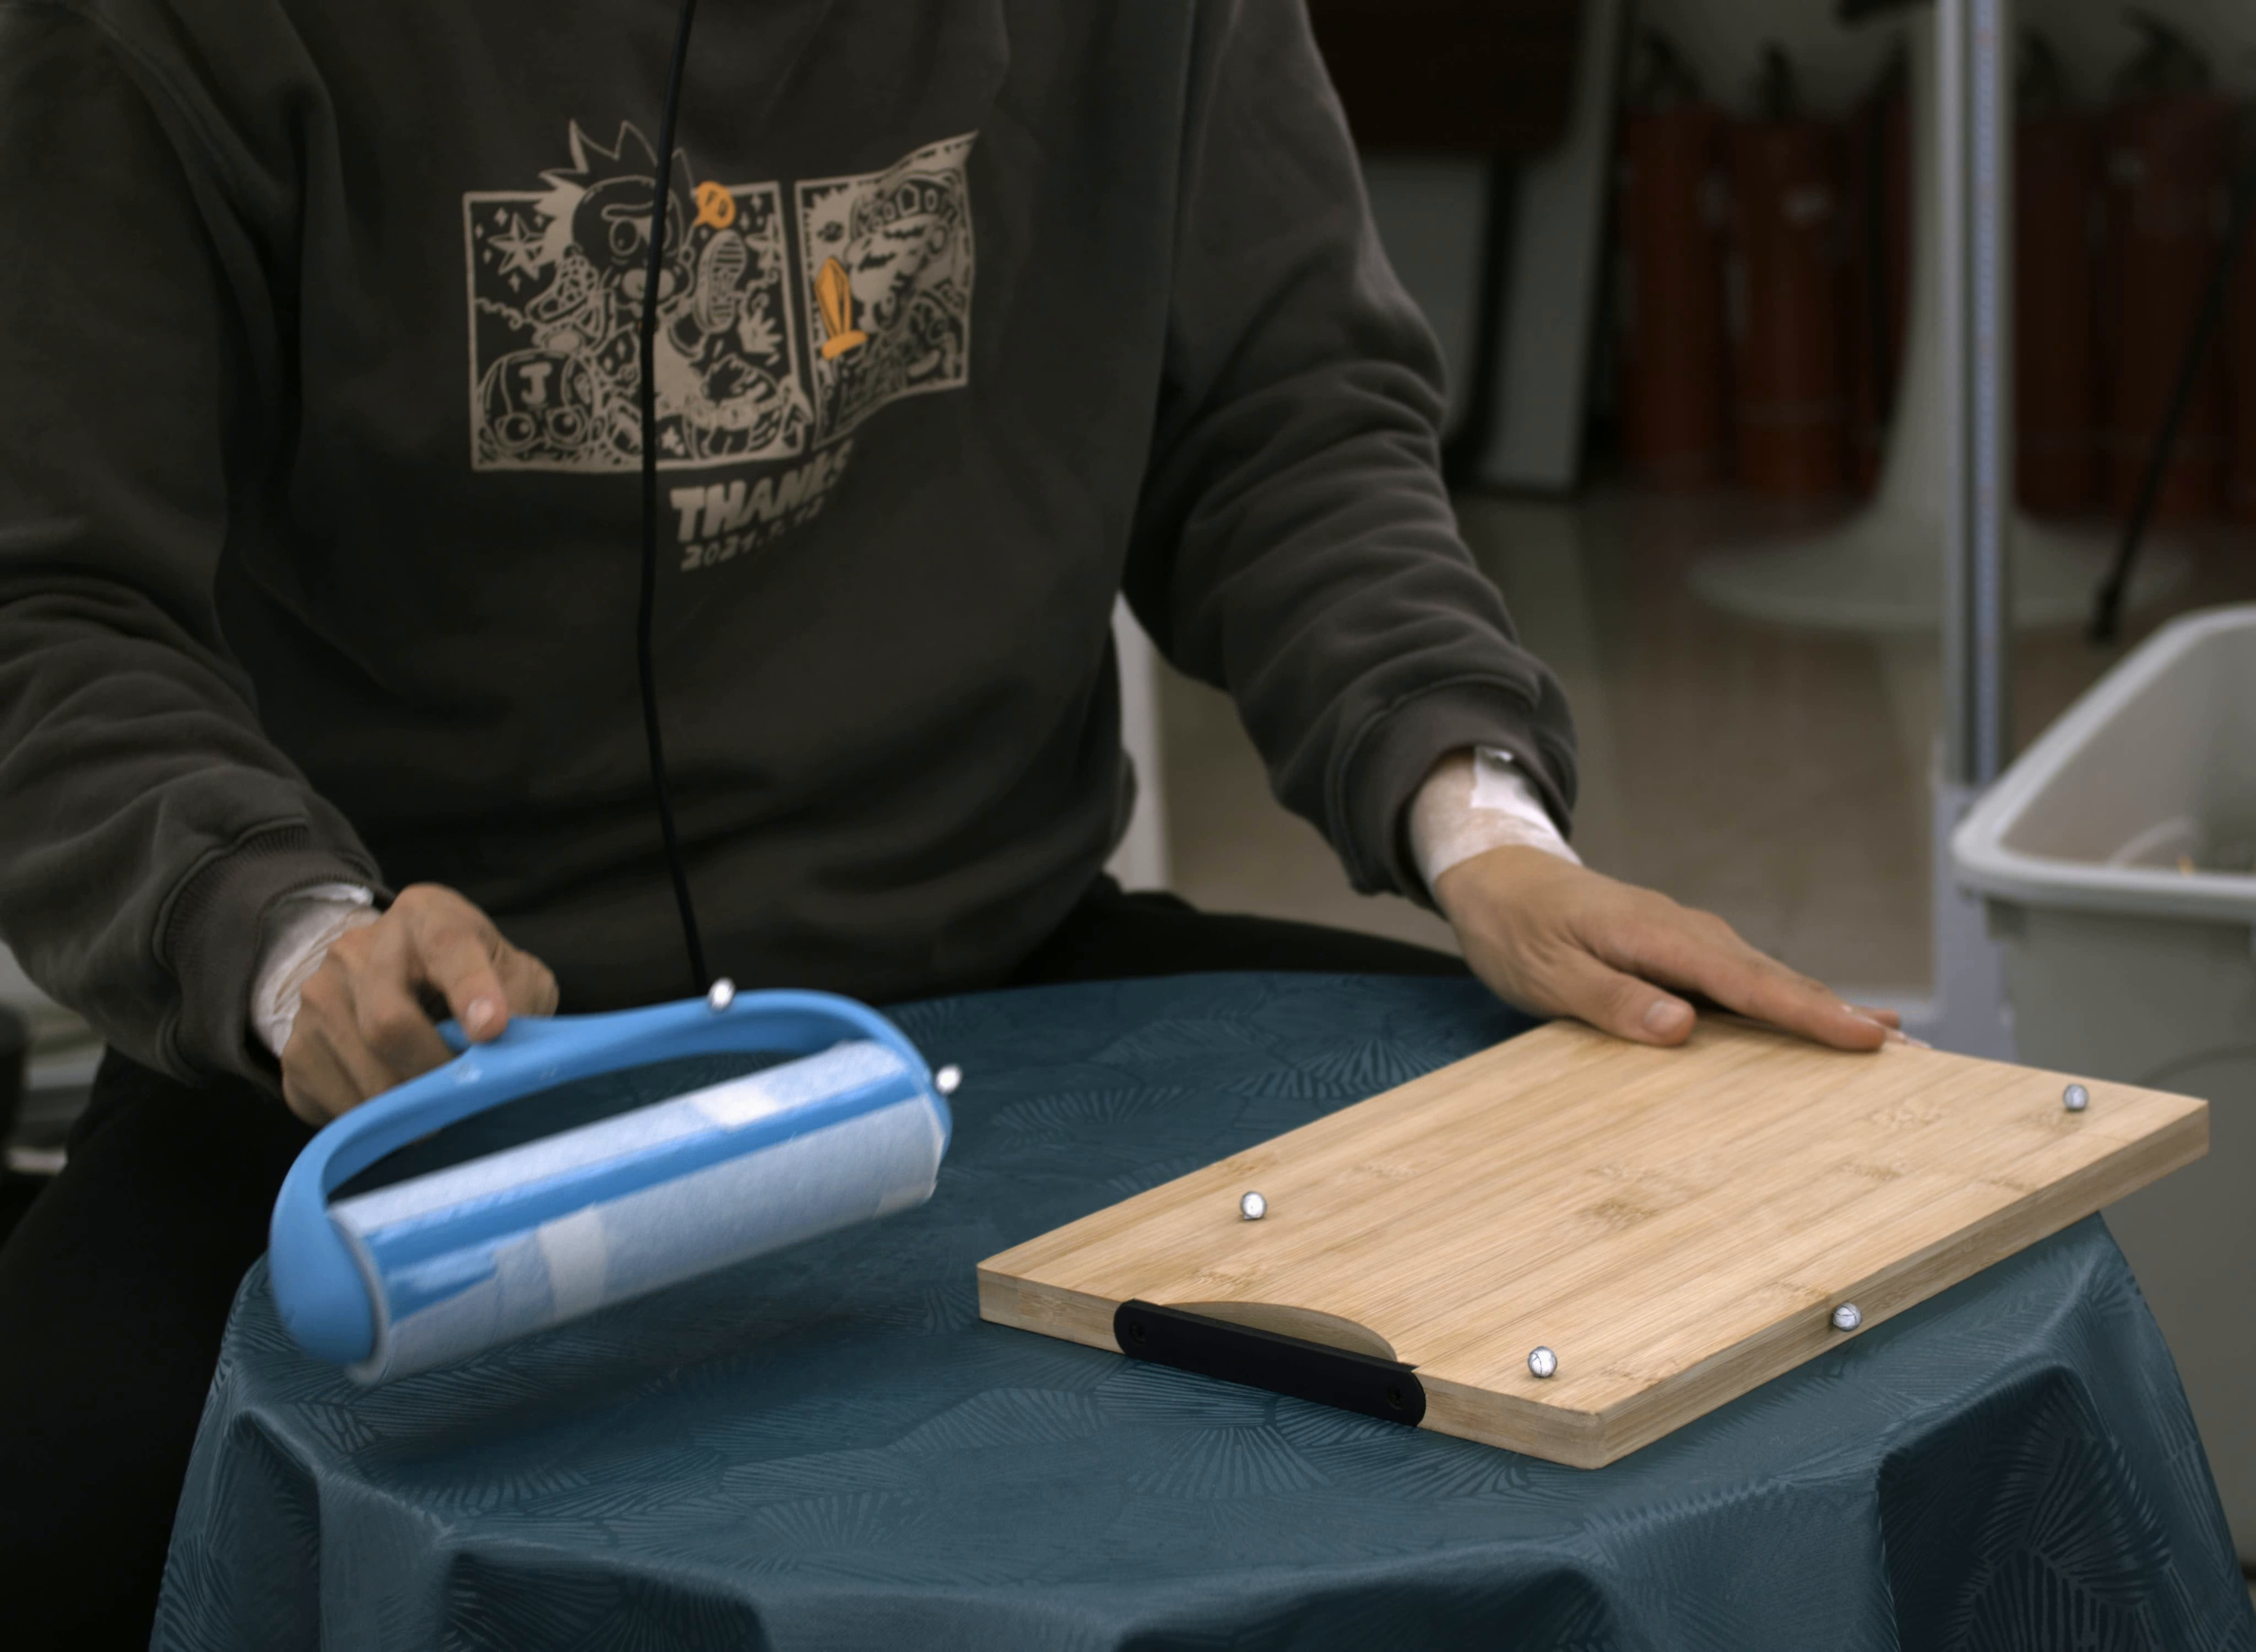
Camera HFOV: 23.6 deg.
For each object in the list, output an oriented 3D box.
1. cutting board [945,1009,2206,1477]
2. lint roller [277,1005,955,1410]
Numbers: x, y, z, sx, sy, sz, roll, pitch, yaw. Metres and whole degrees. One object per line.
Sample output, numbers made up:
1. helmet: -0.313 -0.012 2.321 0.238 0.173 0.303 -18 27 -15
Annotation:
1. cutting board: 0.147 0.124 1.690 0.253 0.024 0.342 7 17 41
2. lint roller: -0.185 0.097 1.652 0.224 0.068 0.182 -20 32 -34
